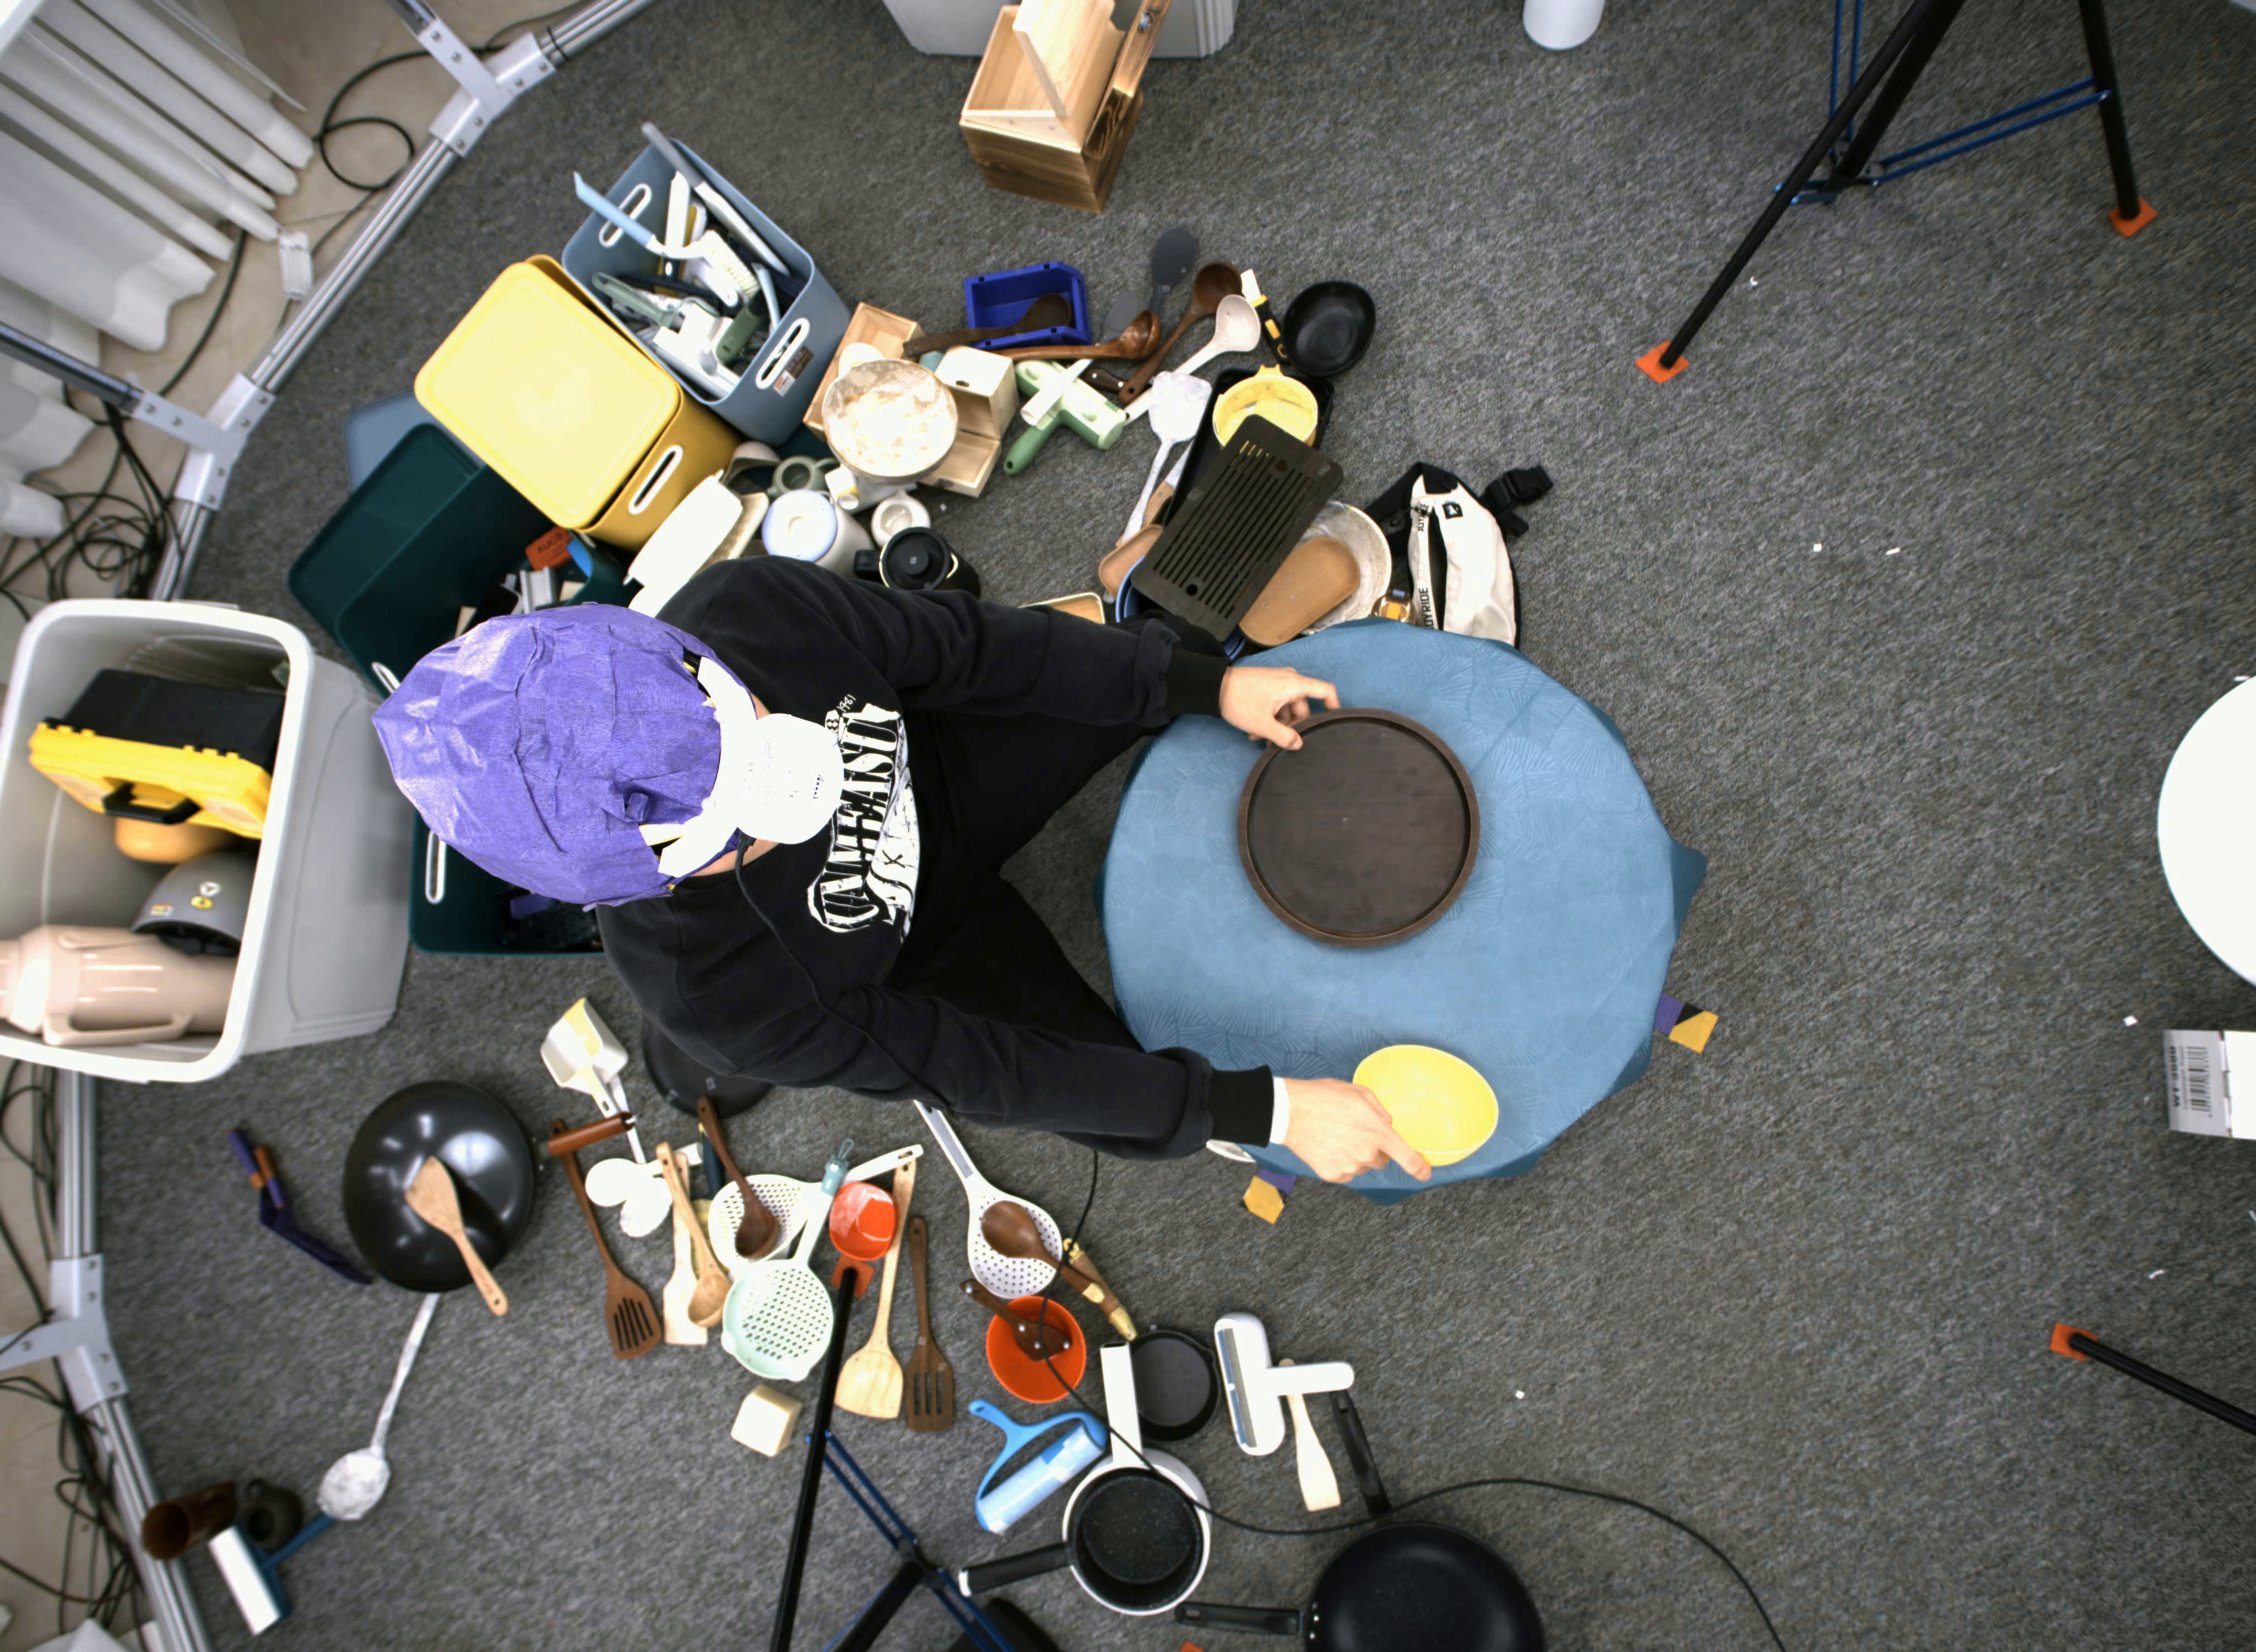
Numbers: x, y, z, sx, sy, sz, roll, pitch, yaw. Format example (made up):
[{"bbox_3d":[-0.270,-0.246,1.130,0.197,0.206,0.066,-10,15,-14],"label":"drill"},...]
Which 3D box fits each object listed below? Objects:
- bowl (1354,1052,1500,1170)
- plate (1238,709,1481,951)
[{"bbox_3d":[0.293,0.292,1.377,0.145,0.141,0.061,11,125,11],"label":"bowl"},{"bbox_3d":[0.243,0.003,1.452,0.256,0.029,0.255,0,94,10],"label":"plate"}]
